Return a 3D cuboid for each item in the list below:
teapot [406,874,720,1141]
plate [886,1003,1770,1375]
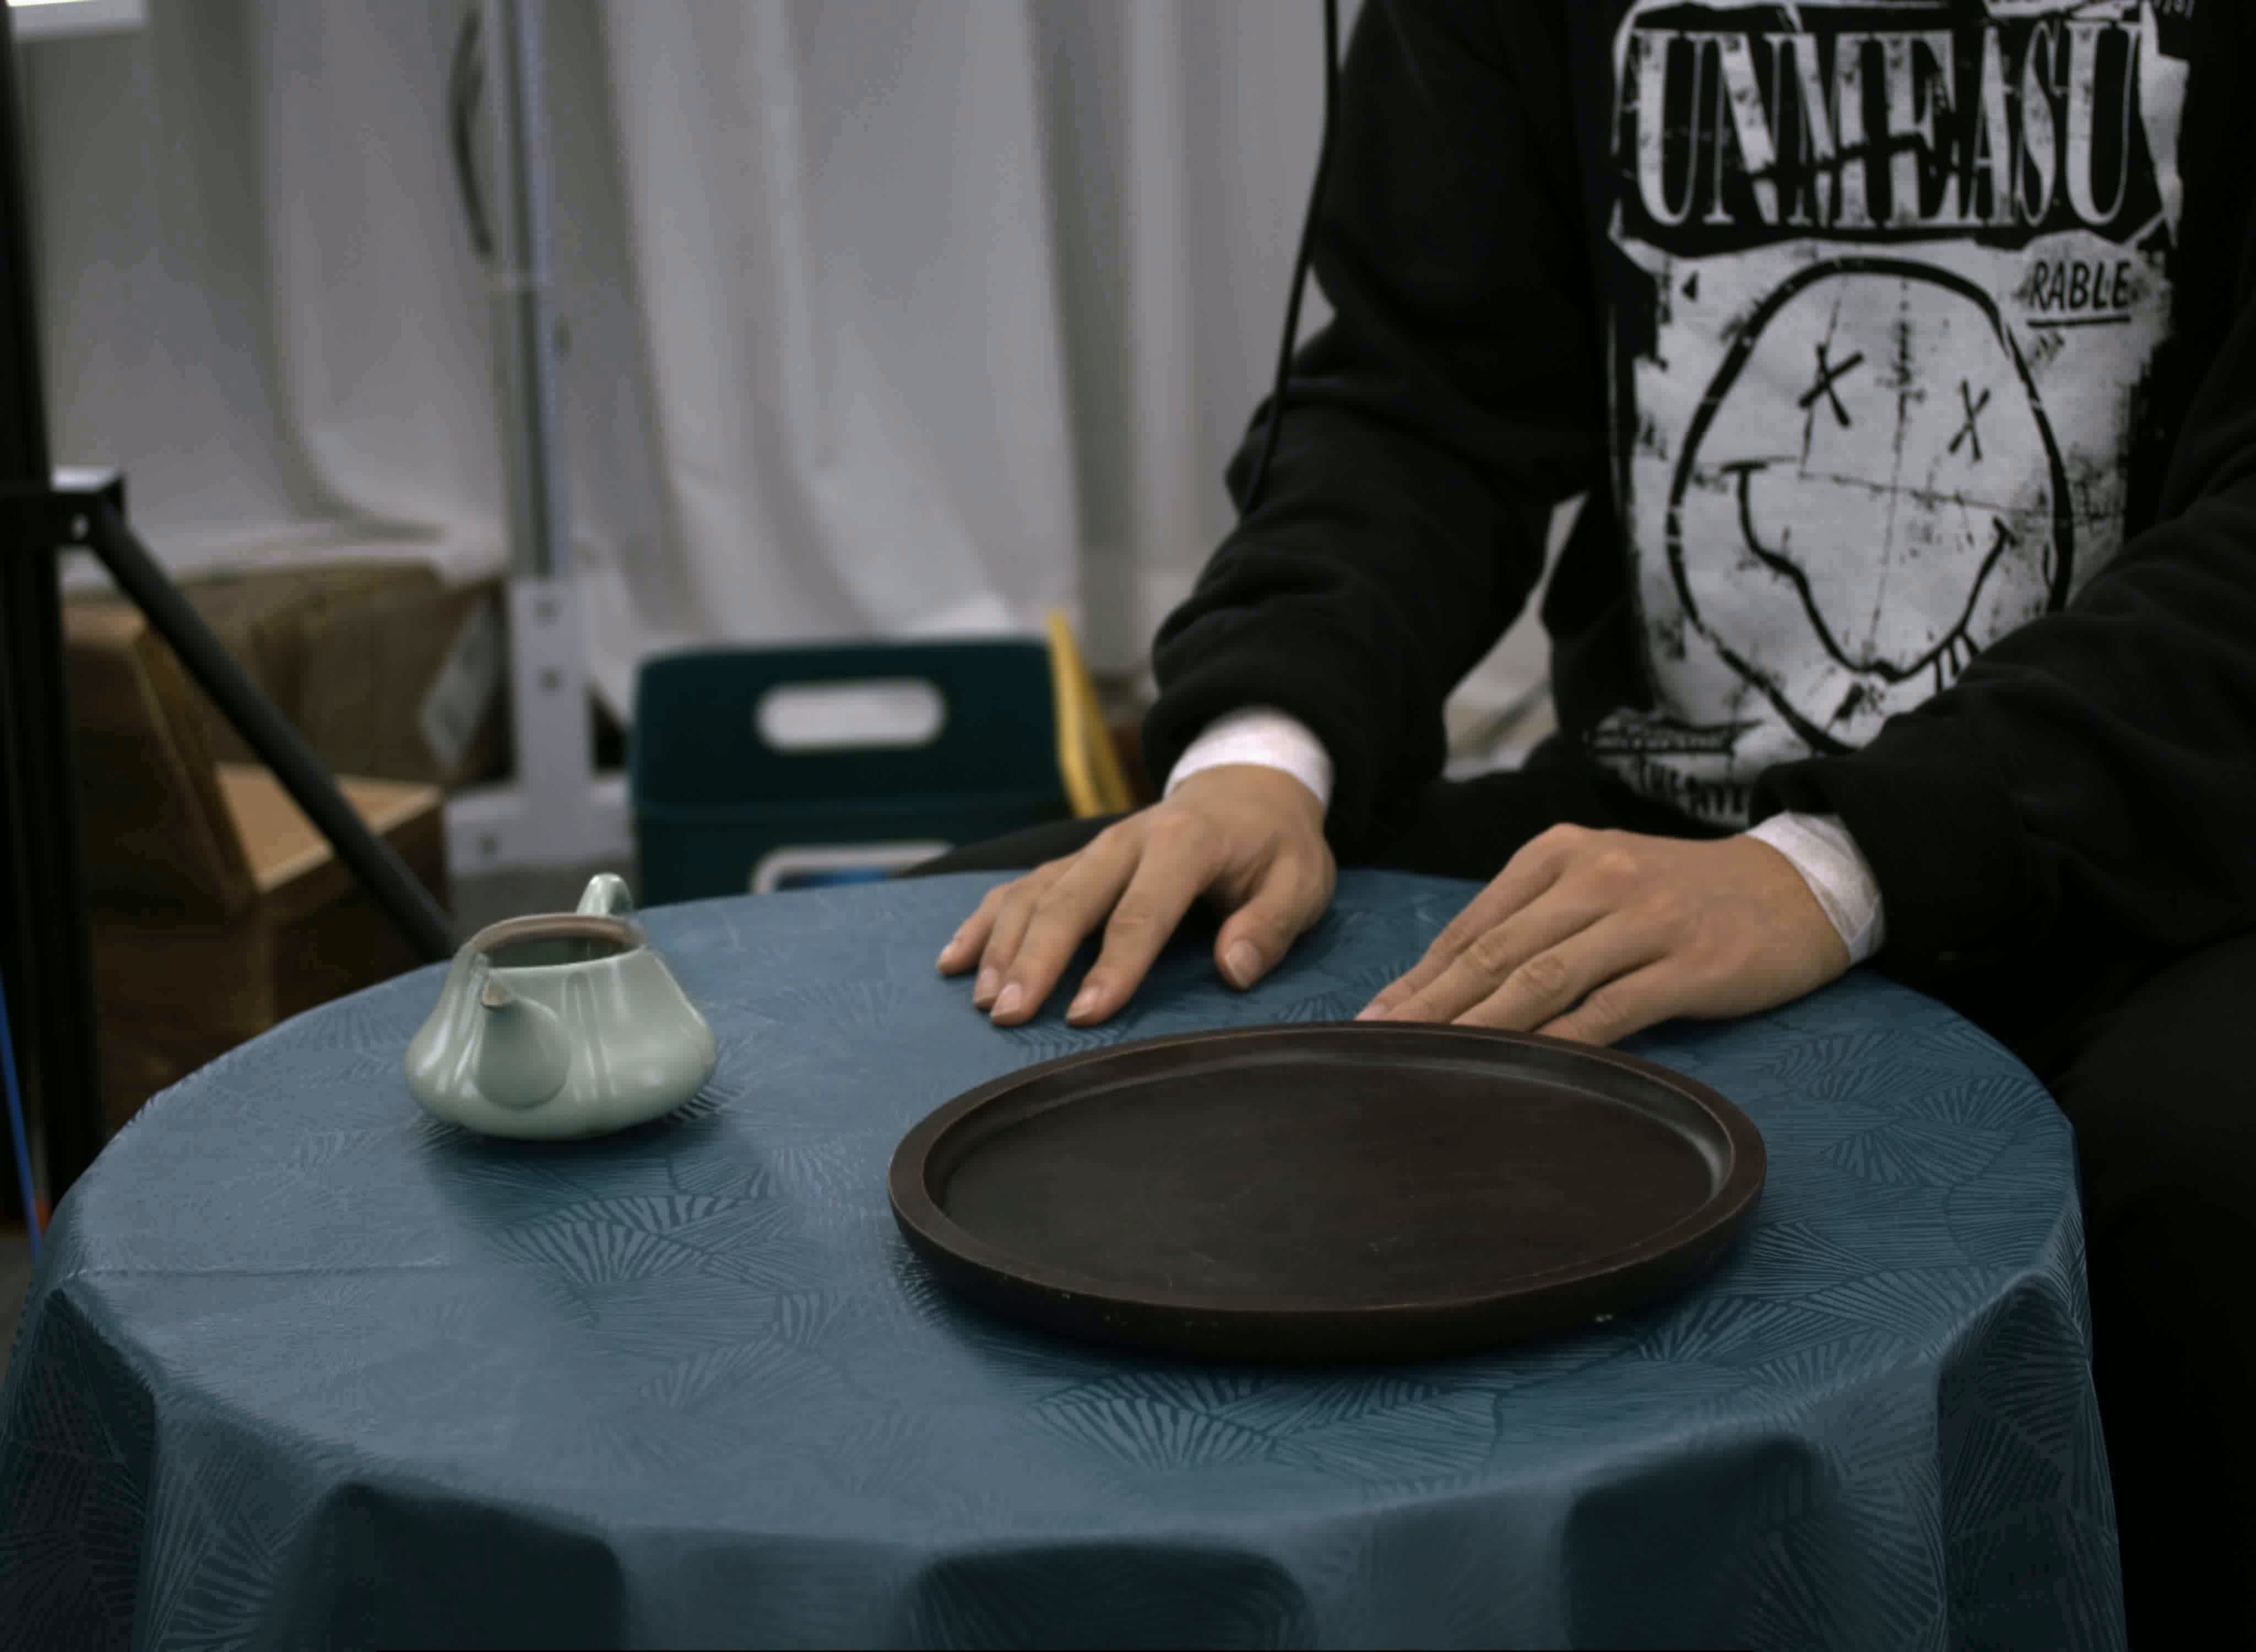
[{"bbox_3d":[-0.174,0.059,1.646,0.096,0.061,0.136,-1,16,10],"label":"teapot"},{"bbox_3d":[0.057,0.104,1.516,0.253,0.029,0.256,-4,16,0],"label":"plate"}]
